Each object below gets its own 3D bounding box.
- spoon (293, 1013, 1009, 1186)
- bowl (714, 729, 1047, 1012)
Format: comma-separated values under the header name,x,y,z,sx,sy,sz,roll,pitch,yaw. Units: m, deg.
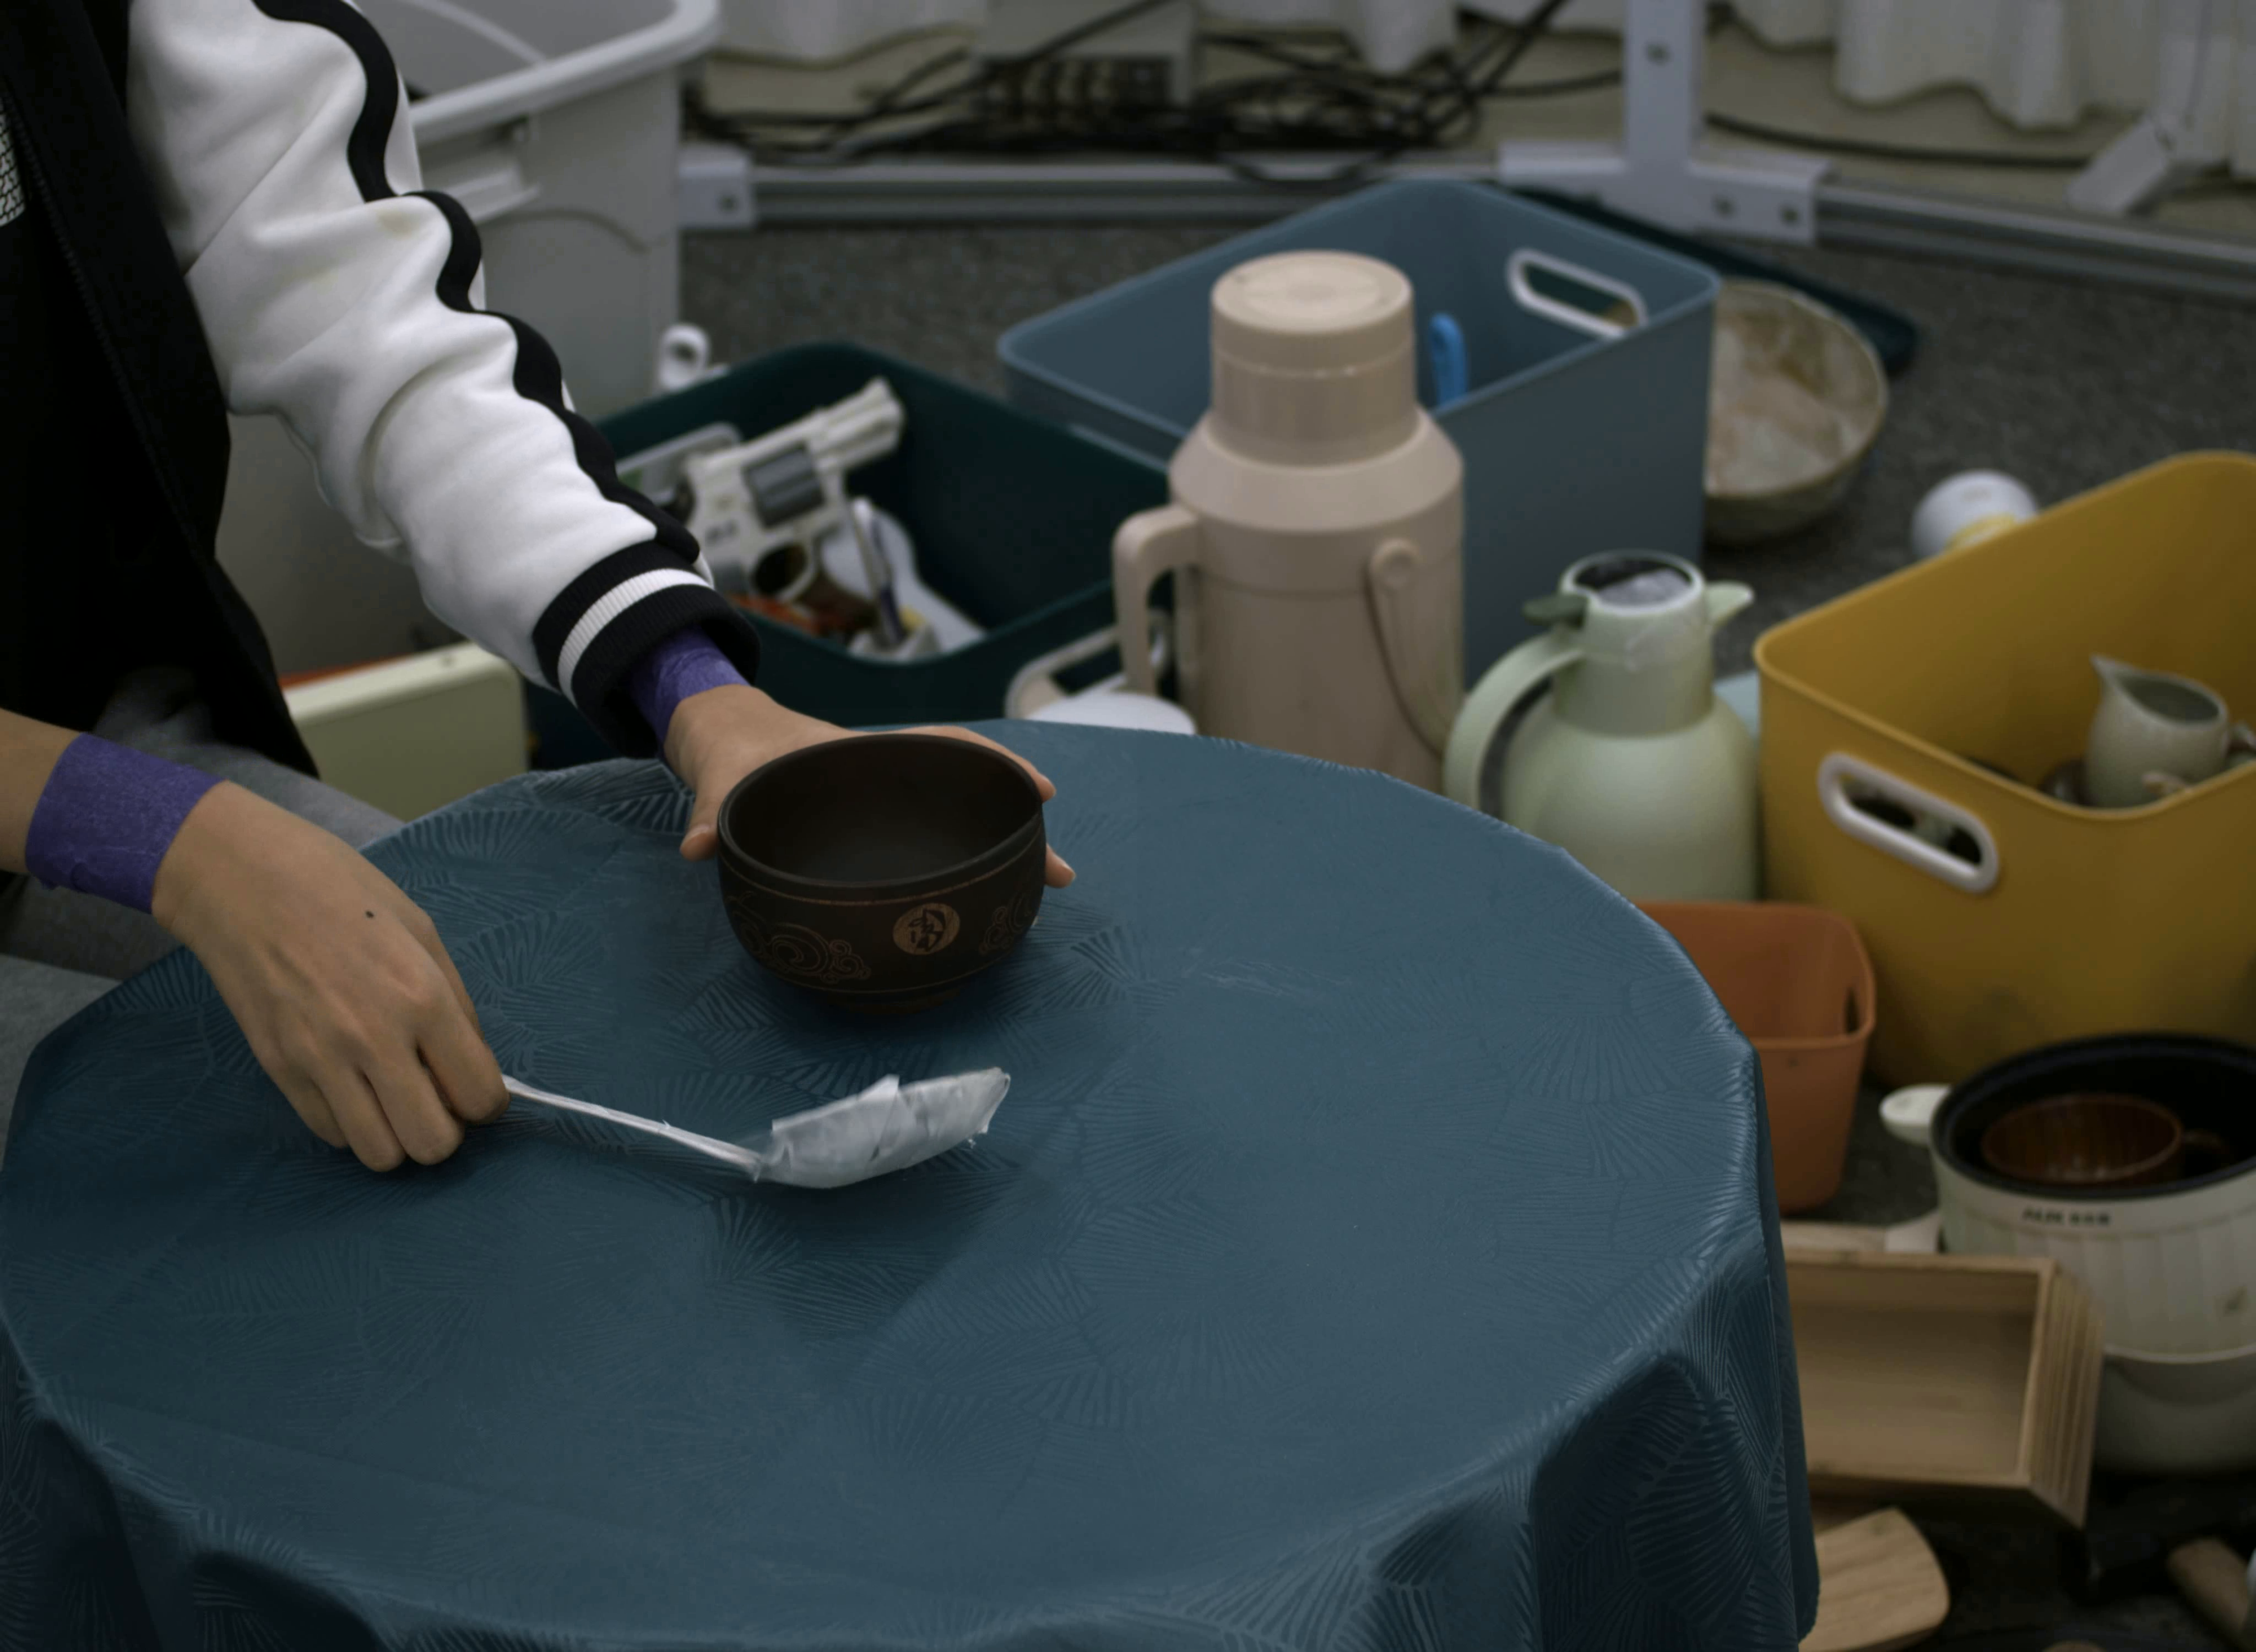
name,x,y,z,sx,sy,sz,roll,pitch,yaw
spoon,-0.166,0.075,1.904,0.276,0.060,0.100,14,-4,30
bowl,-0.086,0.022,1.983,0.117,0.069,0.120,-2,27,1
